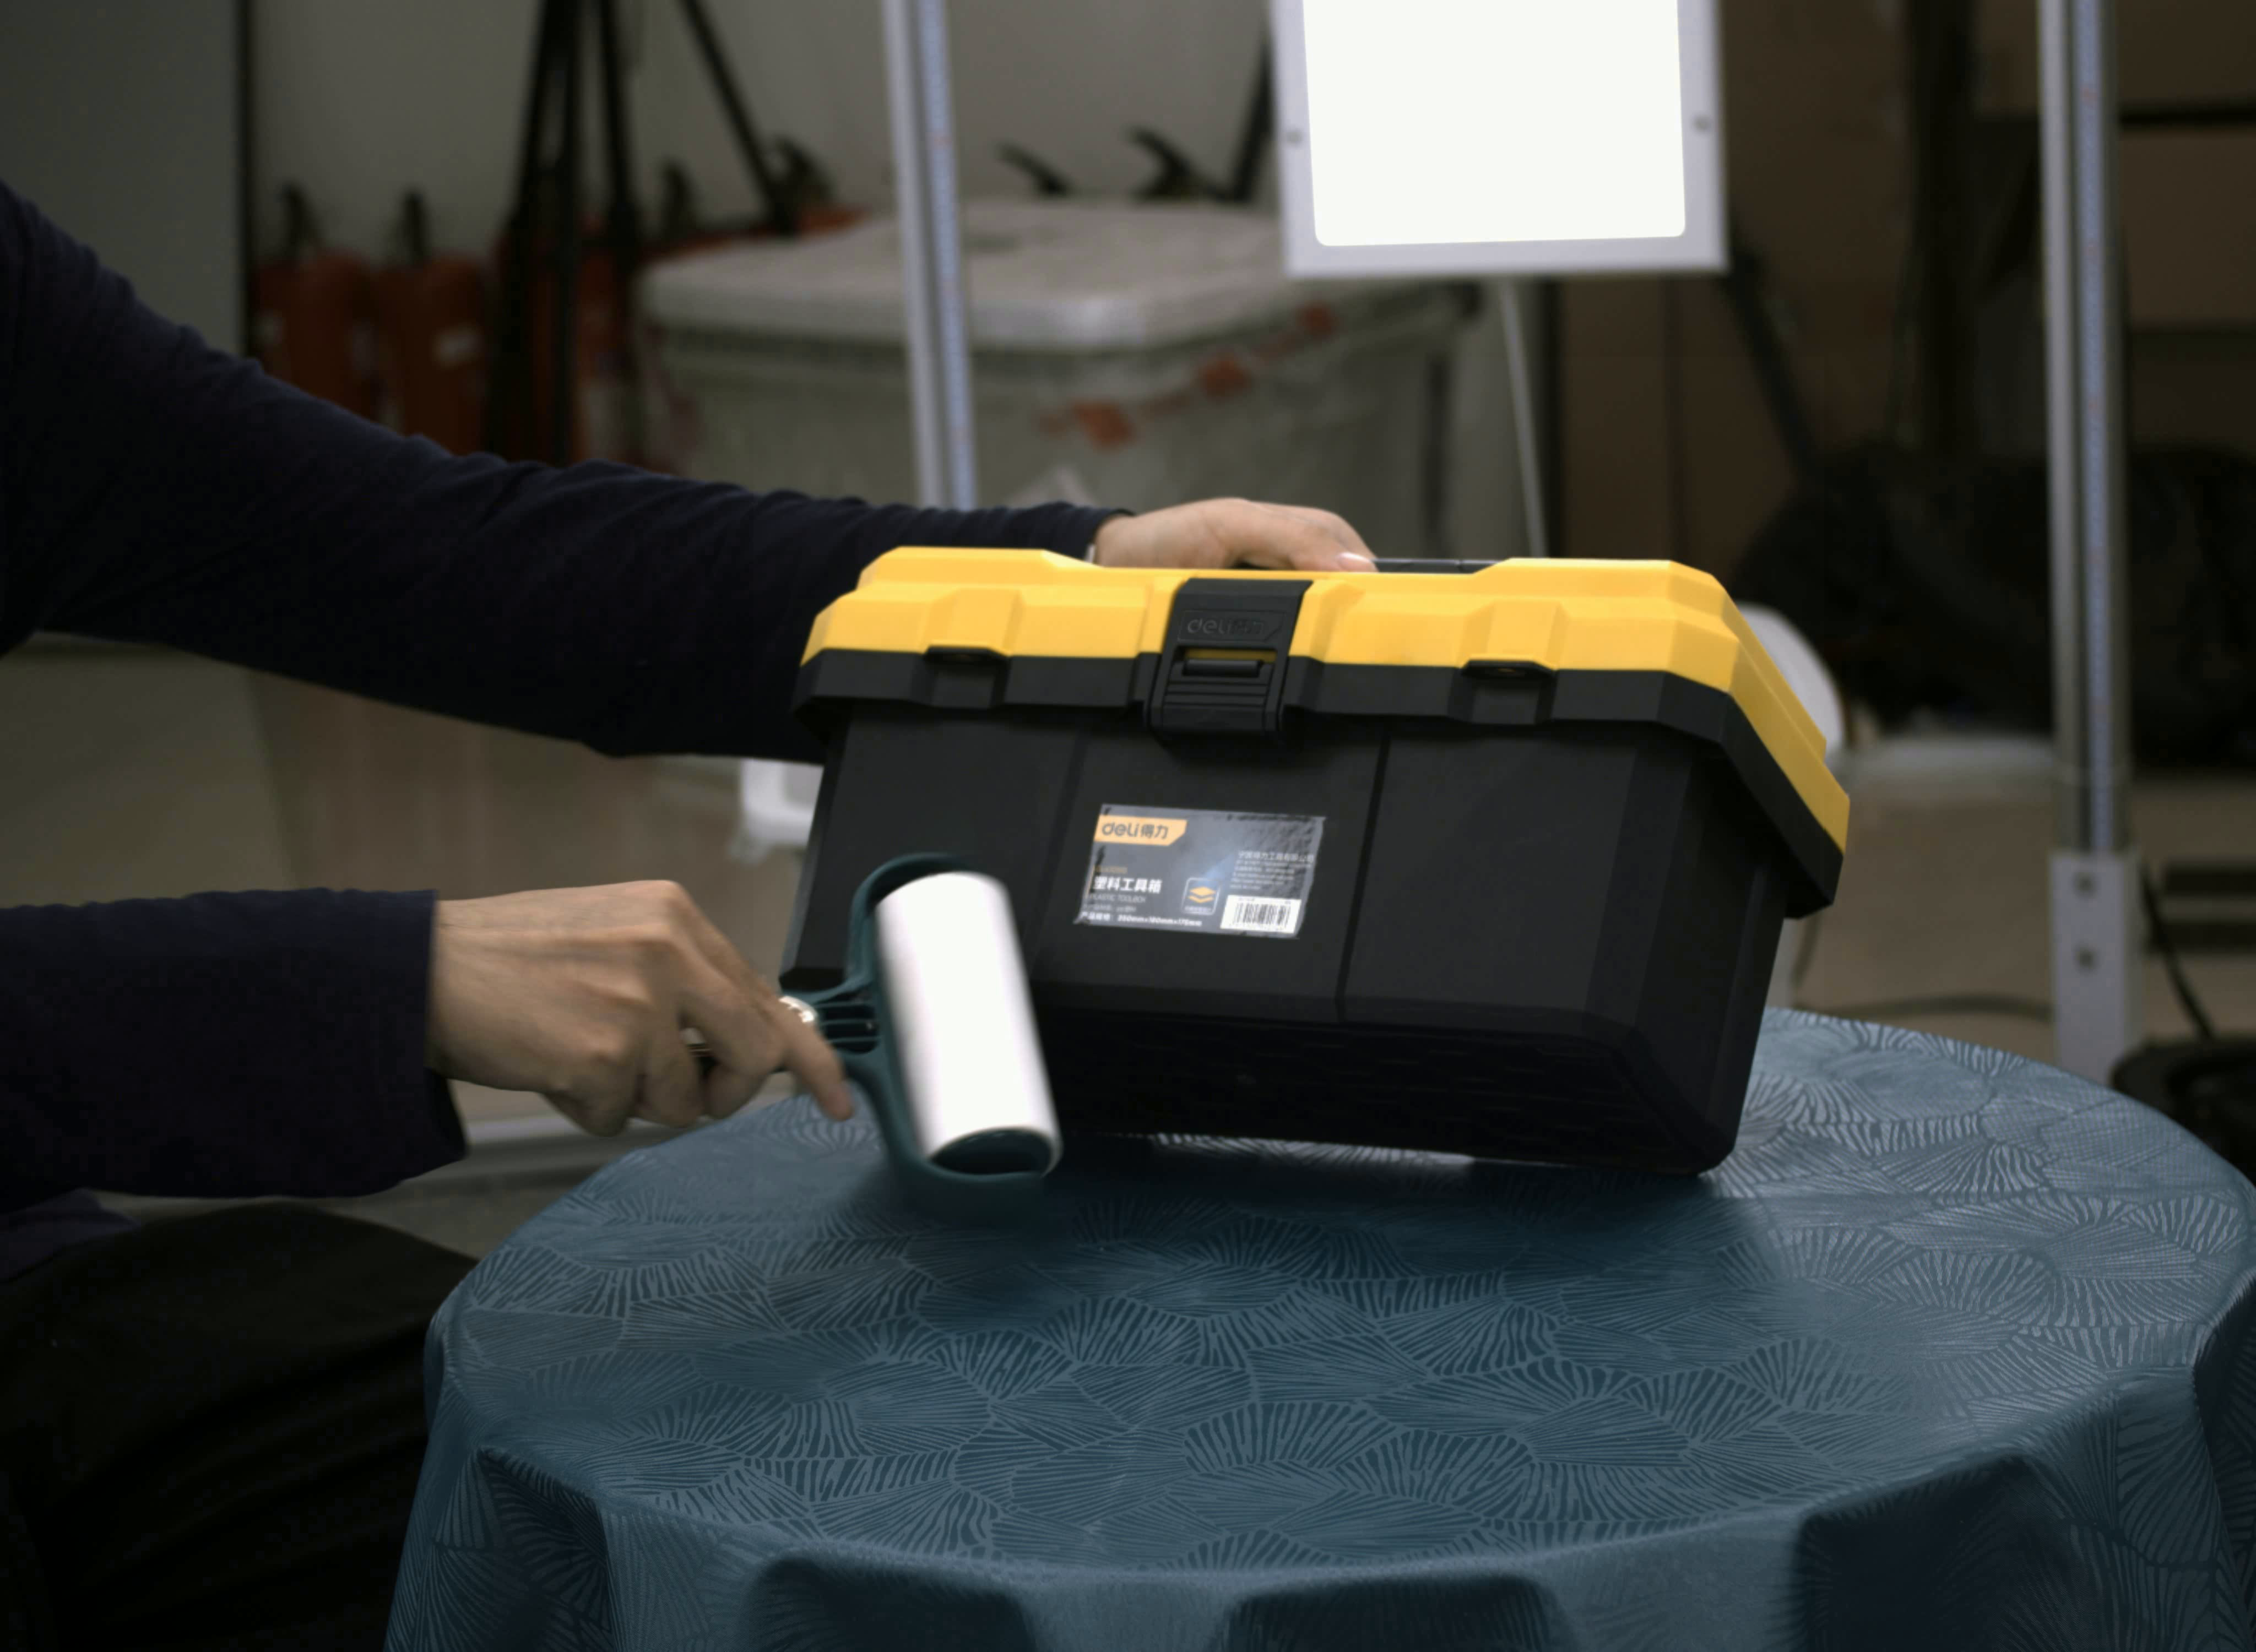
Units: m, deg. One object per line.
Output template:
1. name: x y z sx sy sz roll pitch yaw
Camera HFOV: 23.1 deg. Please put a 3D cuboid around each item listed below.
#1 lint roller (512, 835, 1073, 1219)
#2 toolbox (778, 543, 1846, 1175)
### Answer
1. lint roller: -0.110 0.064 1.803 0.176 0.134 0.049 3 -33 -24
2. toolbox: 0.057 0.010 1.911 0.357 0.172 0.179 2 -23 28
